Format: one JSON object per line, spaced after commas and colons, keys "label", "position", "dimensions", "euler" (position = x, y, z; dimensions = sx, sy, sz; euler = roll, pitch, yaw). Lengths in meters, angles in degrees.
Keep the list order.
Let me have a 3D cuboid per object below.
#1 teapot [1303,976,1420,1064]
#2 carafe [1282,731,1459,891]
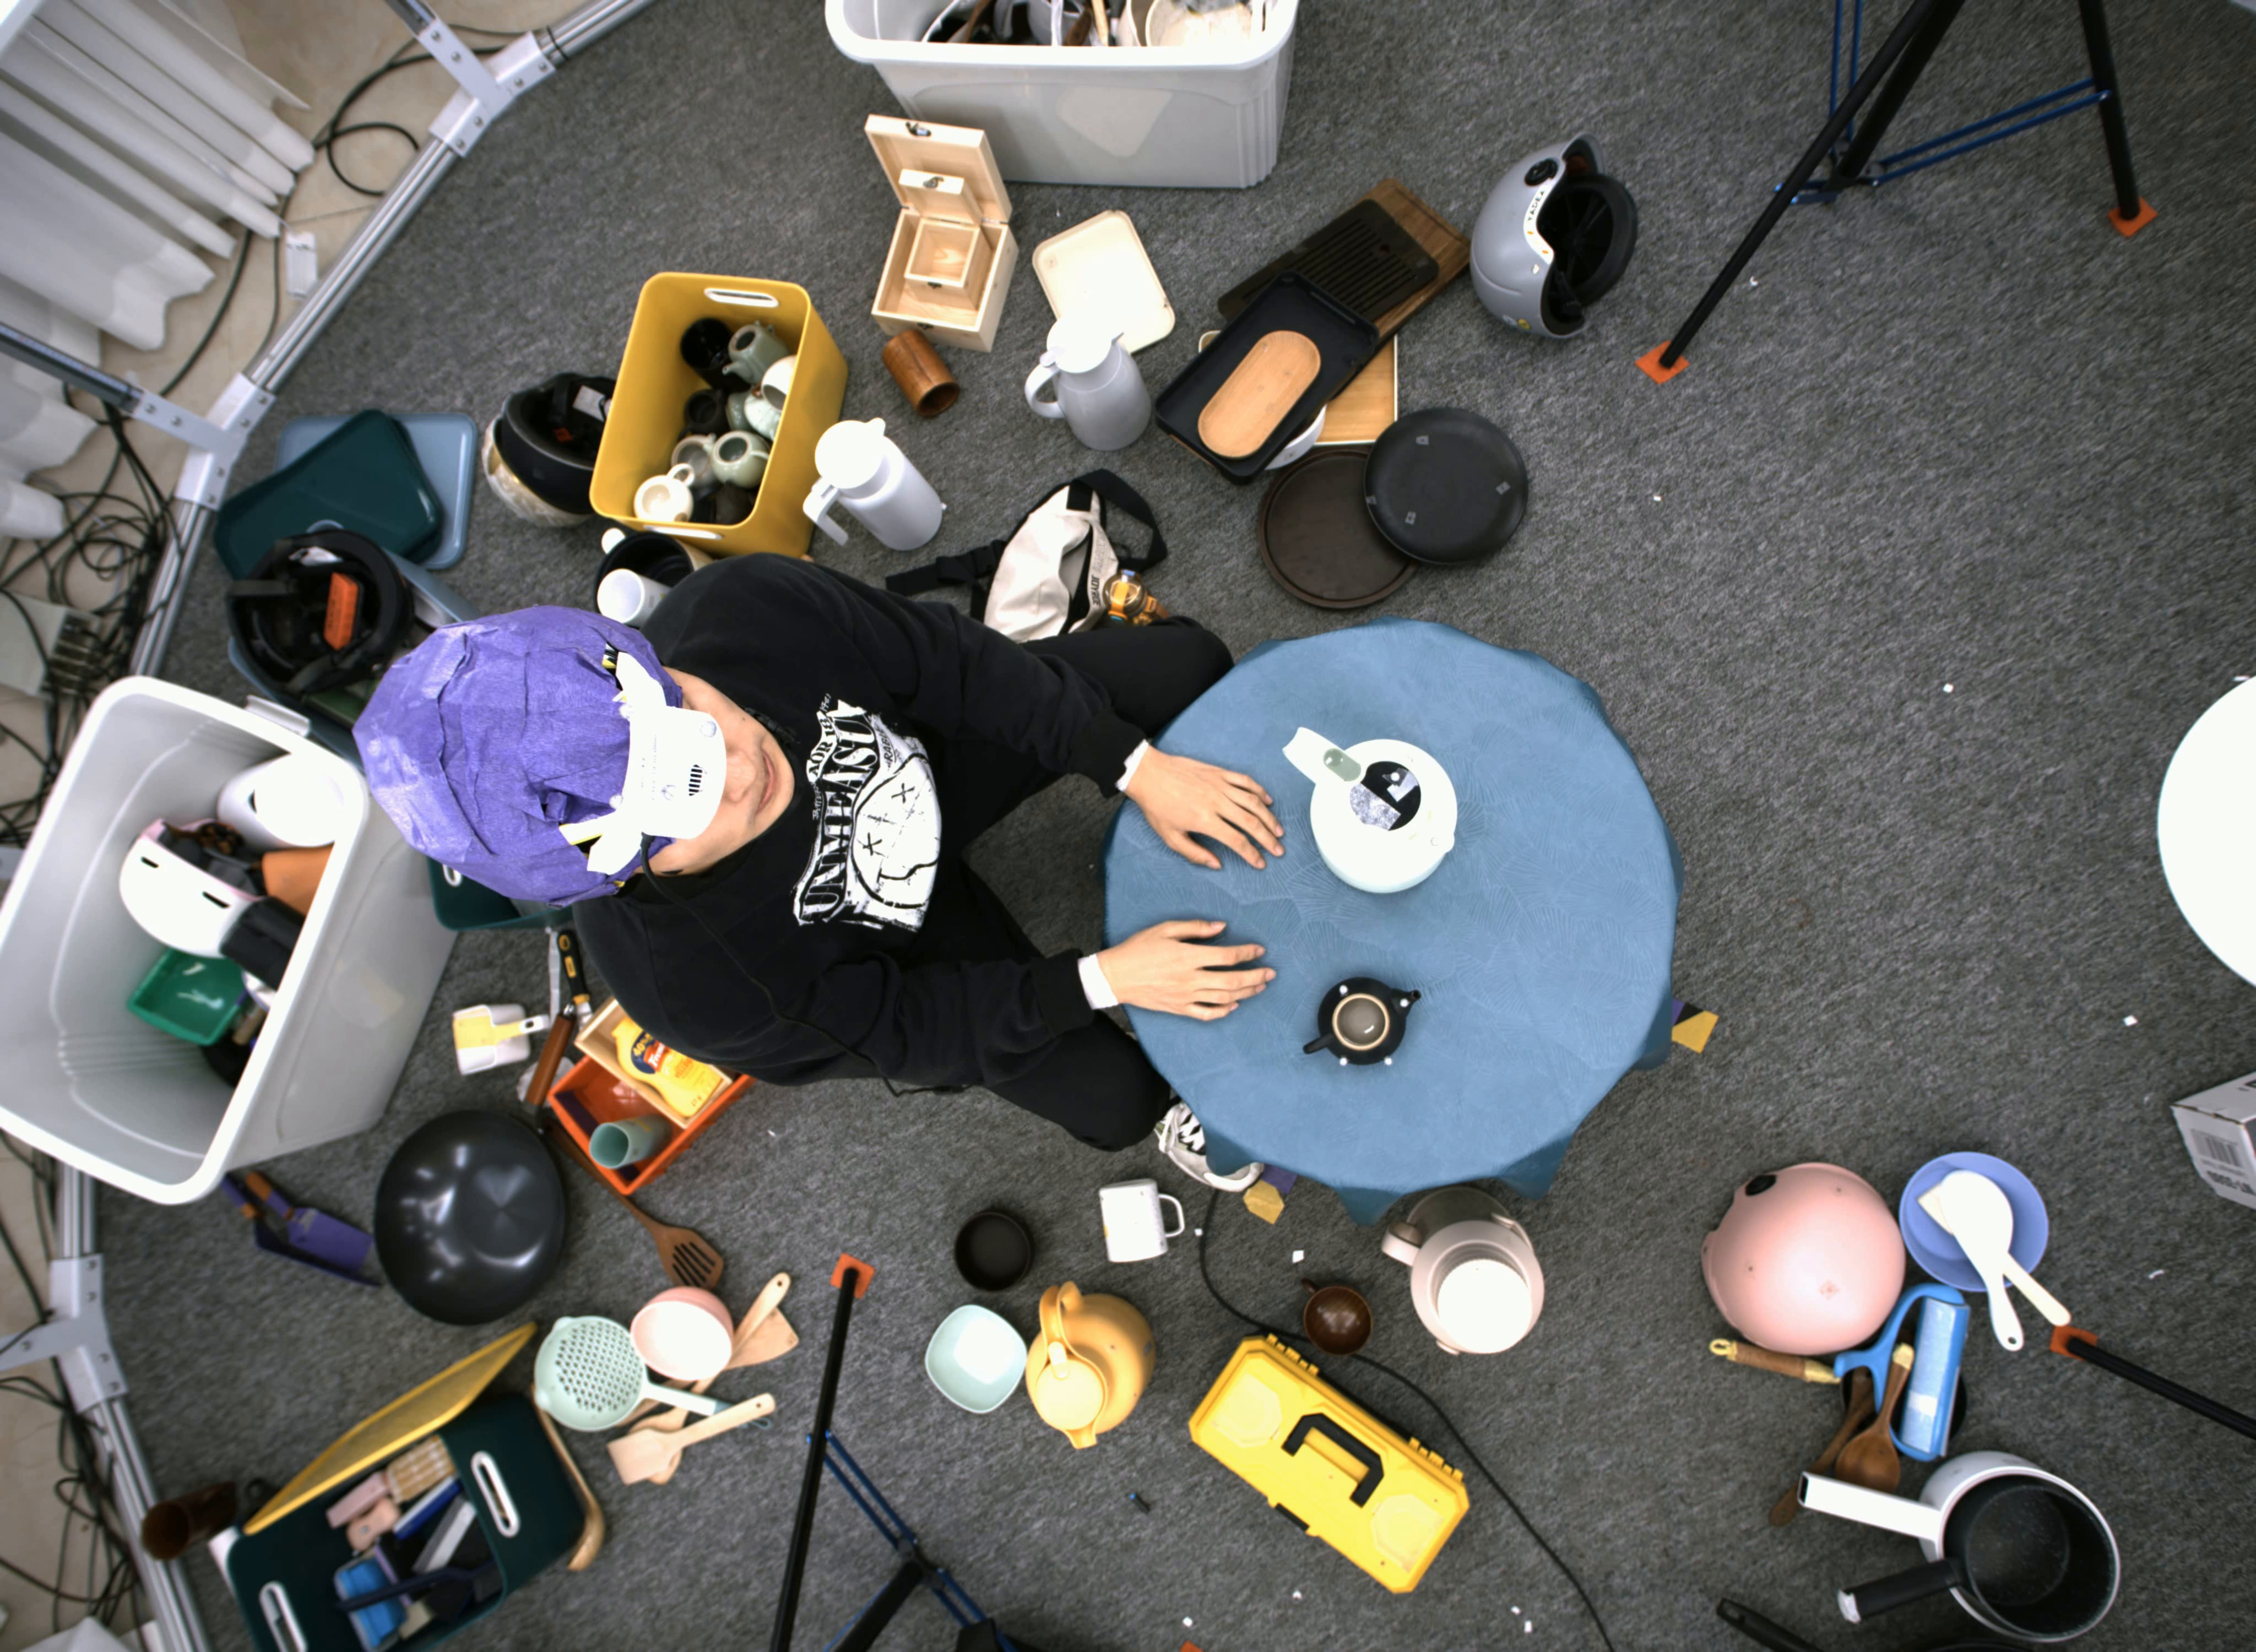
{"label": "teapot", "position": [0.241, 0.200, 1.433], "dimensions": [0.134, 0.053, 0.090], "euler": [-28, 80, 8]}
{"label": "carafe", "position": [0.239, -0.023, 1.345], "dimensions": [0.186, 0.257, 0.145], "euler": [37, 94, 15]}
